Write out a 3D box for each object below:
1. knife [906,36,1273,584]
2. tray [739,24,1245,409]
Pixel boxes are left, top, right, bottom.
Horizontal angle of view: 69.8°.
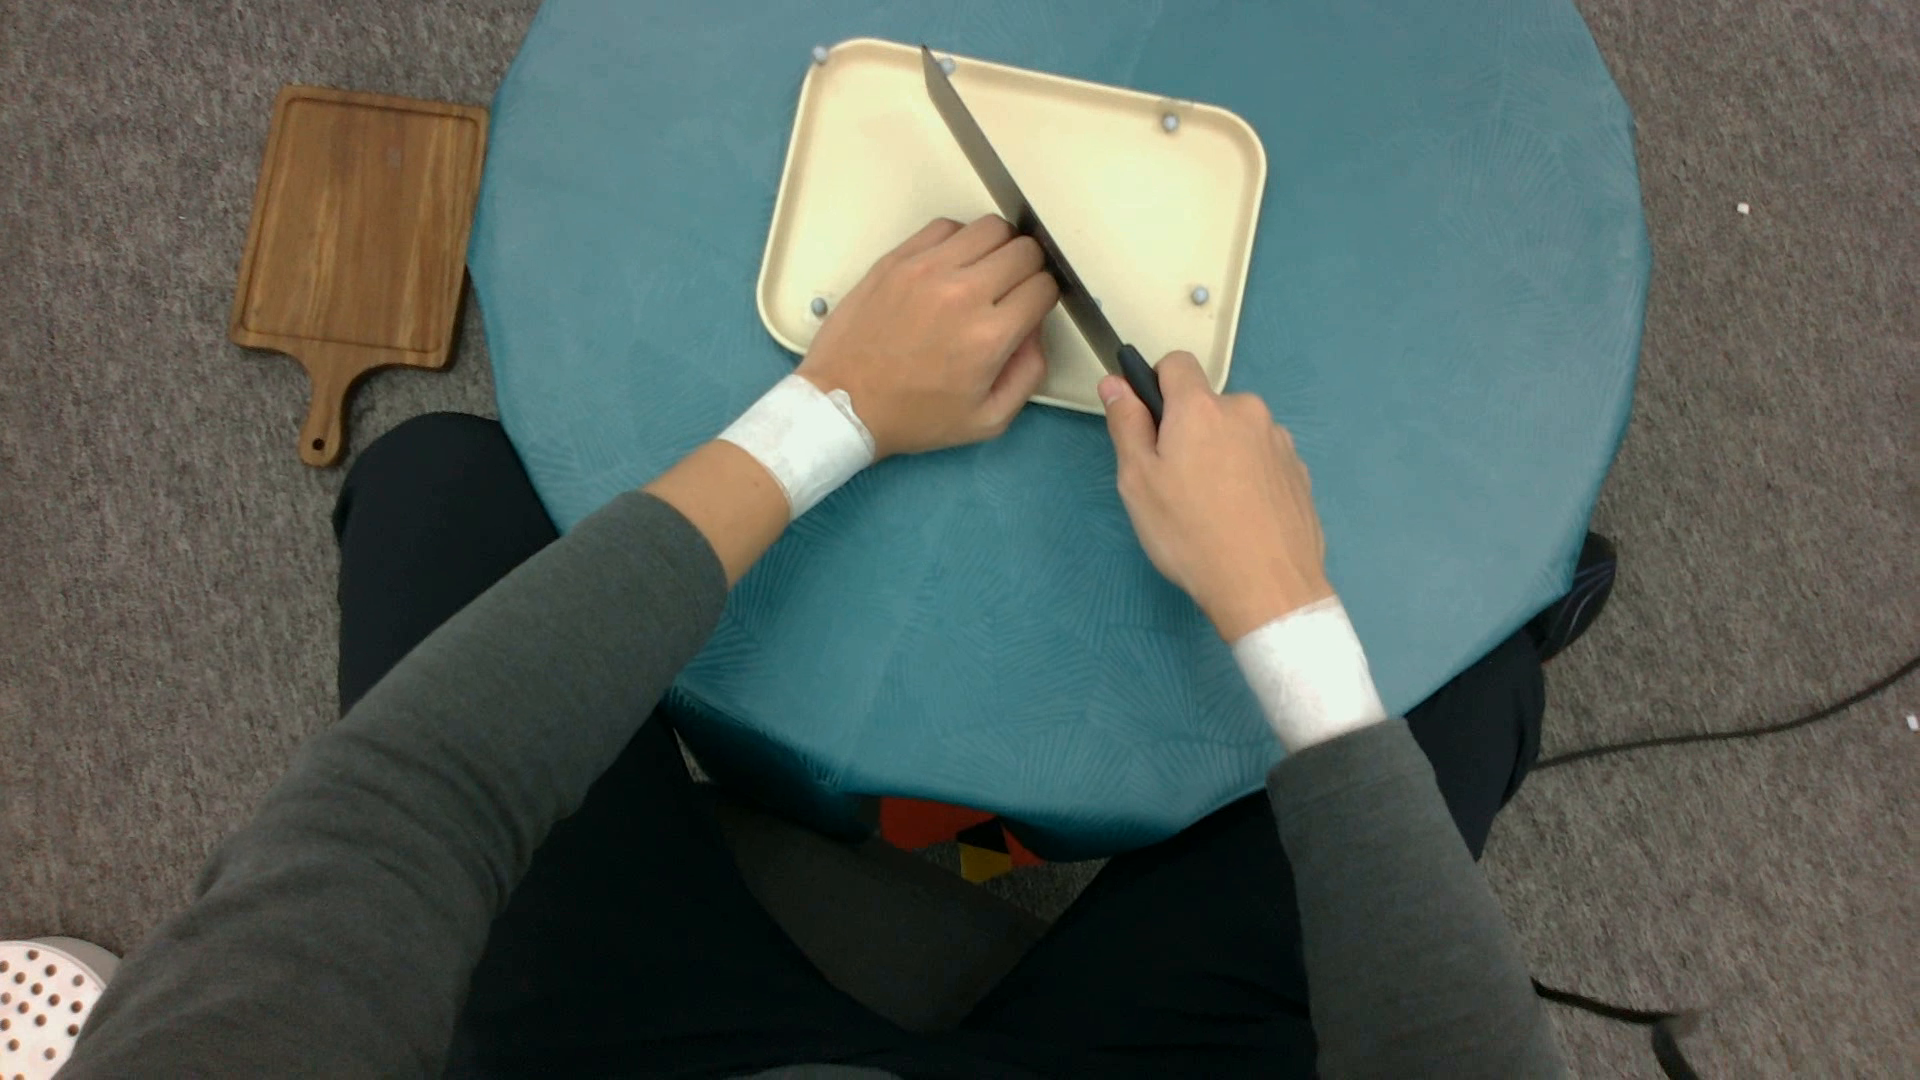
[{"bbox_3d":[0.056,-0.109,0.653,0.021,0.081,0.302,-33,81,-2],"label":"knife"},{"bbox_3d":[0.018,-0.163,0.697,0.240,0.017,0.171,11,82,-1],"label":"tray"}]
